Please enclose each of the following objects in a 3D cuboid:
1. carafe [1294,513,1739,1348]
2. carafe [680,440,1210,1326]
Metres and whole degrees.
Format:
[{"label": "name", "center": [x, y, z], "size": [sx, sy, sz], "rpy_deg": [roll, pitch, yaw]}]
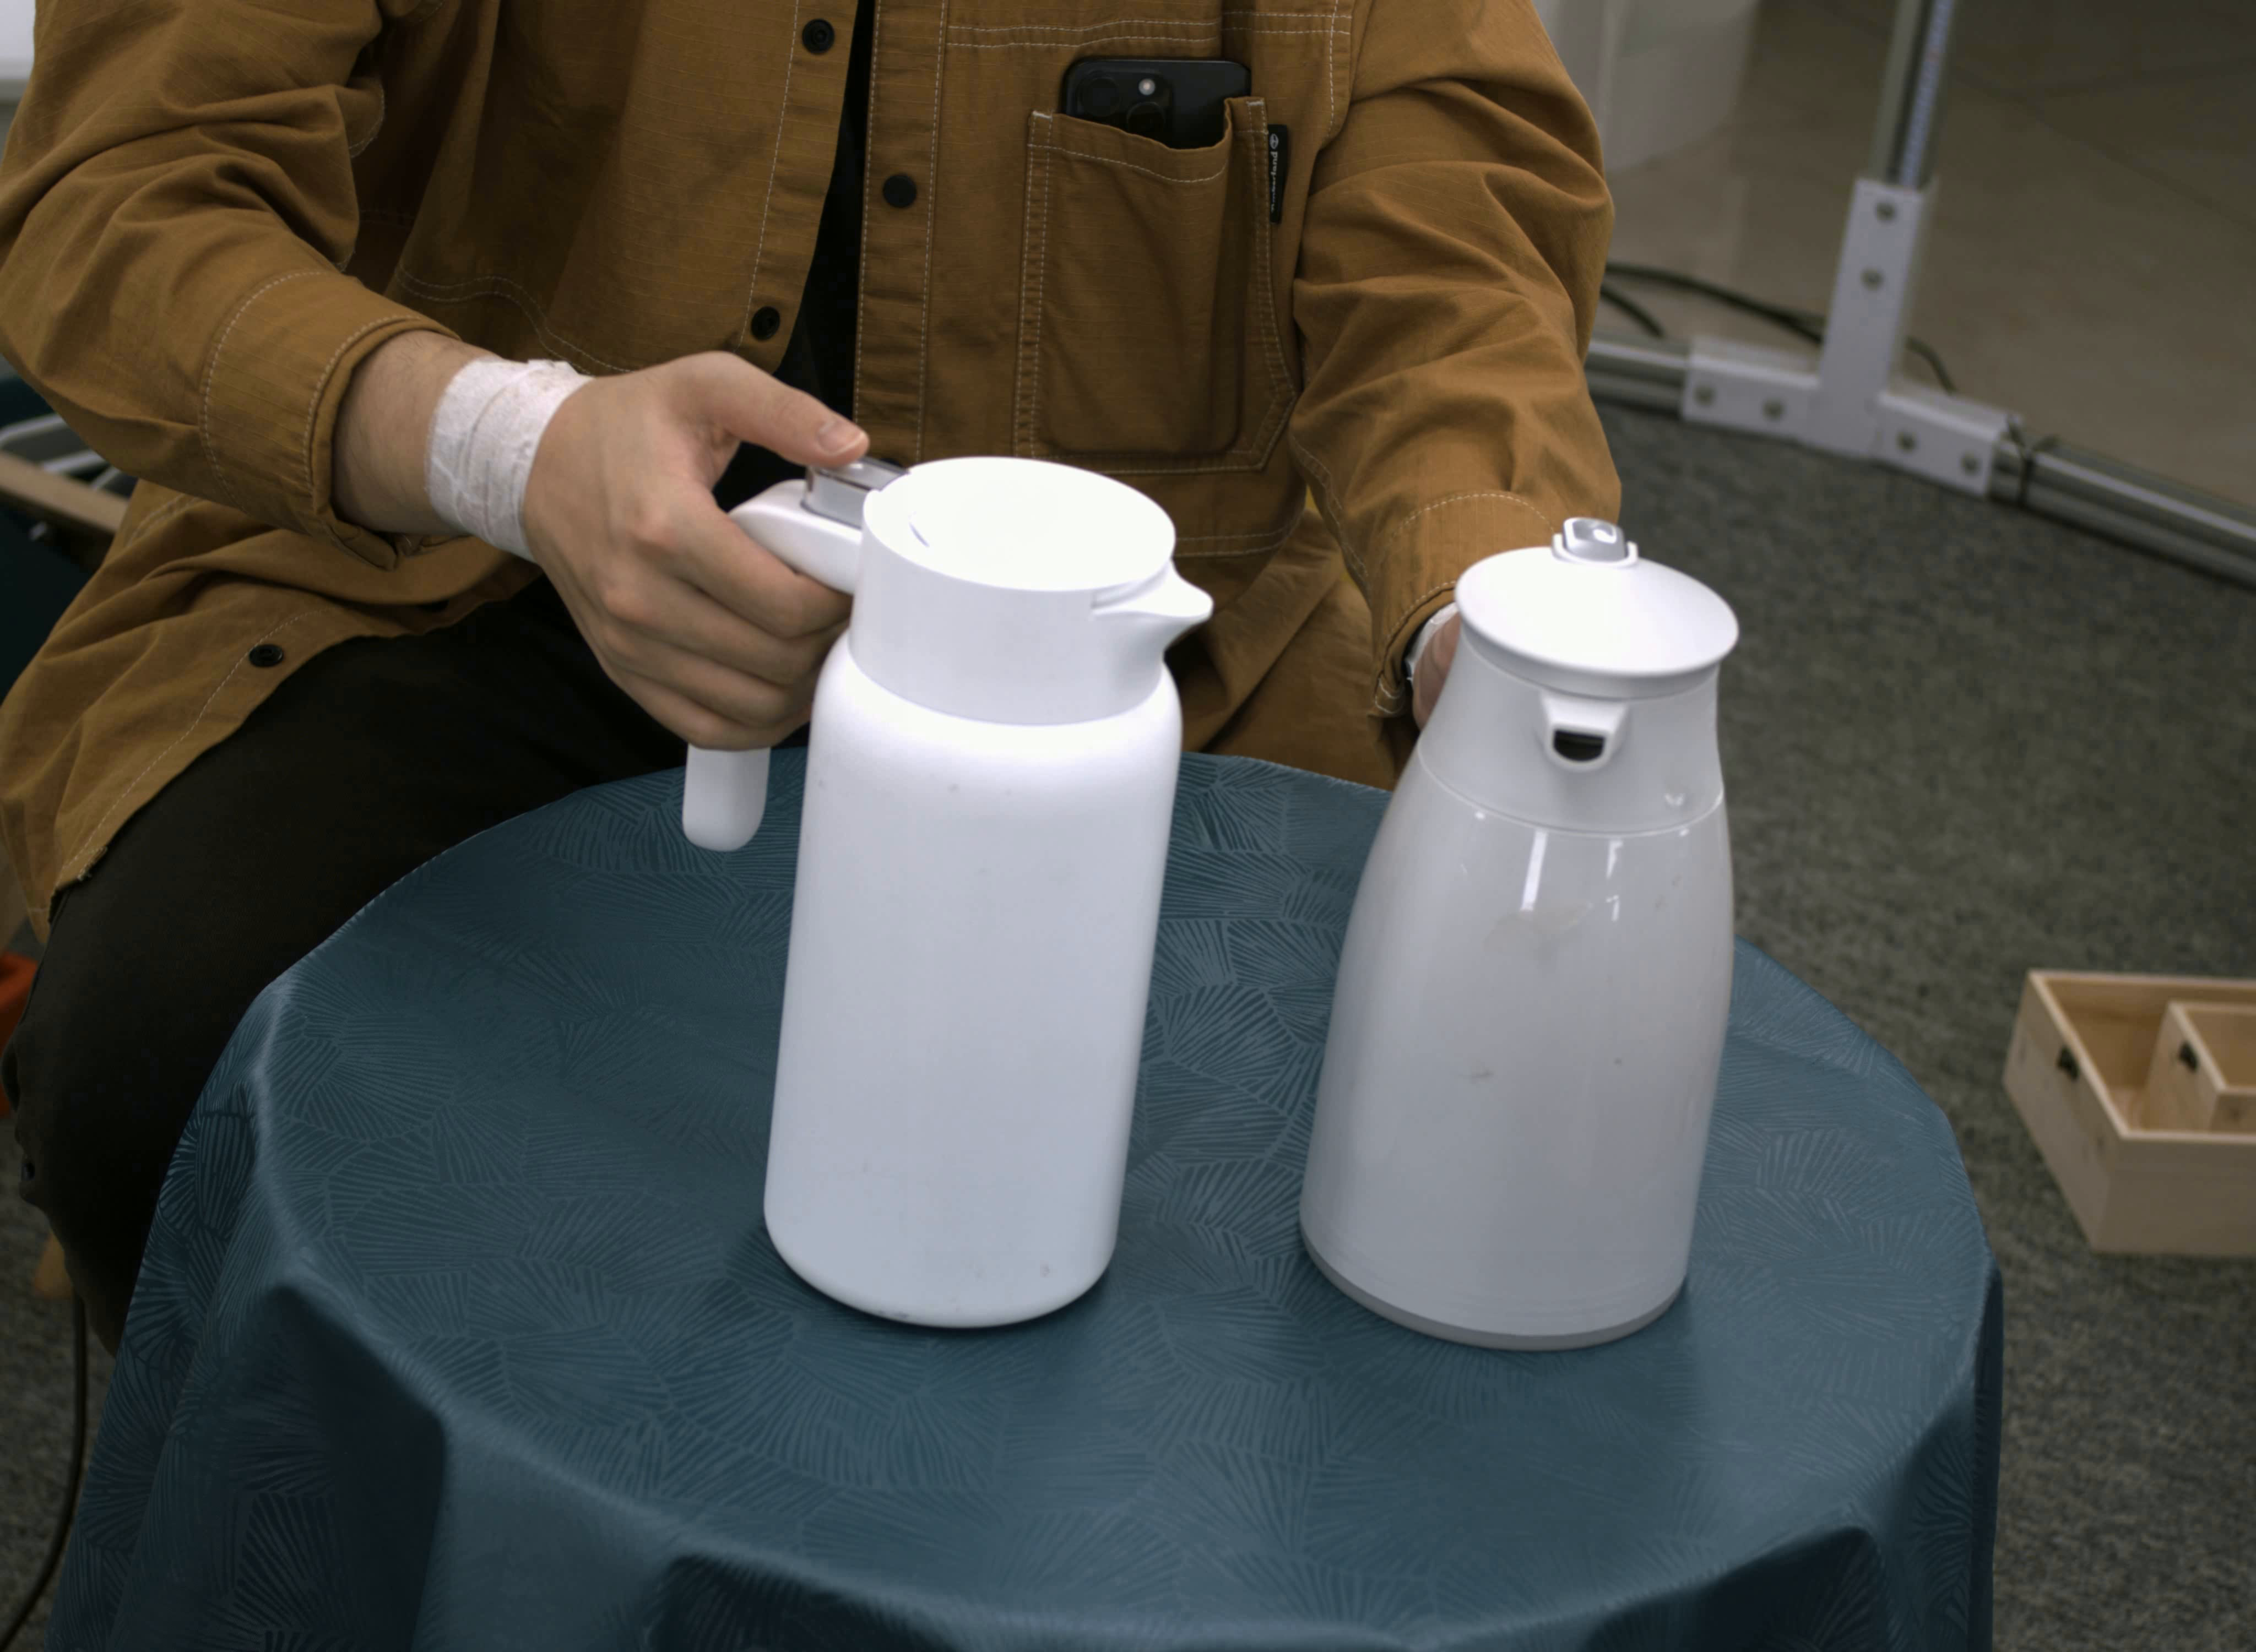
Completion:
[{"label": "carafe", "center": [0.136, 0.023, 1.760], "size": [0.132, 0.248, 0.168], "rpy_deg": [8, 26, 3]}, {"label": "carafe", "center": [-0.066, 0.016, 1.709], "size": [0.173, 0.268, 0.124], "rpy_deg": [19, 30, 22]}]
